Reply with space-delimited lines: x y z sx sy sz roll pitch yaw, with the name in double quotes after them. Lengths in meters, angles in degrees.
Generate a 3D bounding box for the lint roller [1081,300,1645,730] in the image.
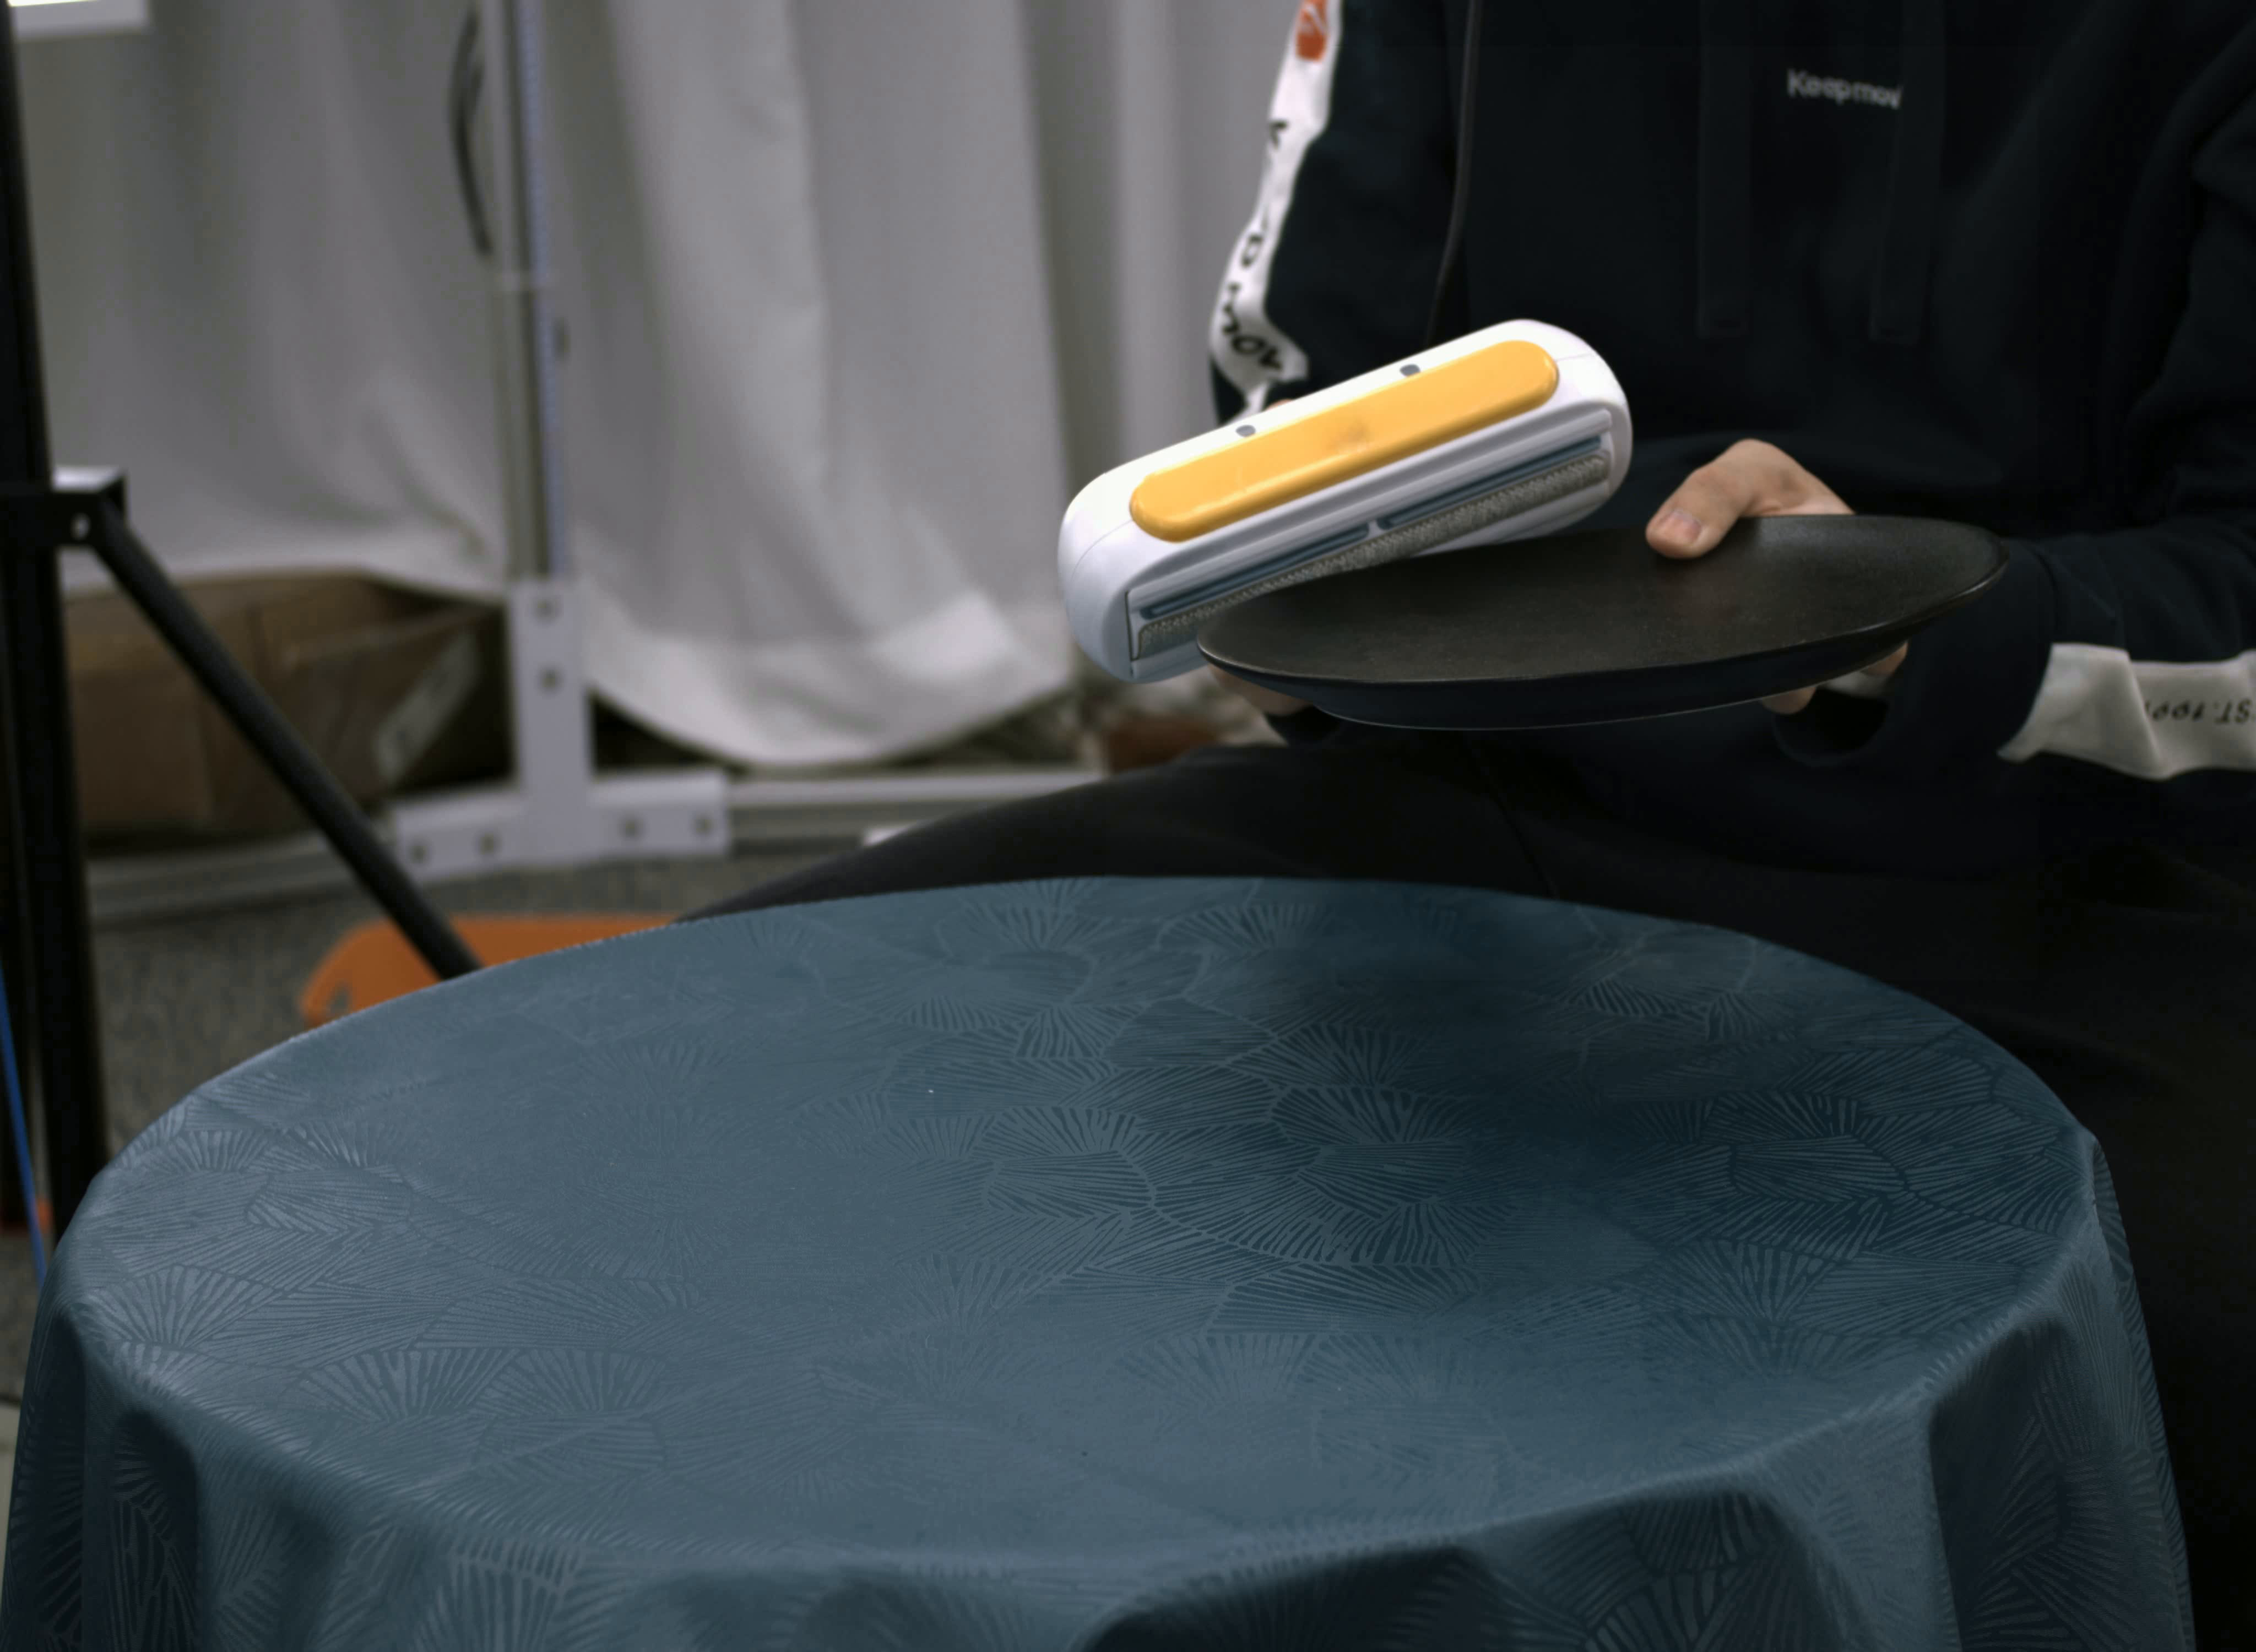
0.068 -0.080 1.743 0.190 0.191 0.075 -24 61 -17 "lint roller"

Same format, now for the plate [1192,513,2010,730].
0.141 -0.059 1.578 0.243 0.023 0.245 -7 12 0 "plate"
